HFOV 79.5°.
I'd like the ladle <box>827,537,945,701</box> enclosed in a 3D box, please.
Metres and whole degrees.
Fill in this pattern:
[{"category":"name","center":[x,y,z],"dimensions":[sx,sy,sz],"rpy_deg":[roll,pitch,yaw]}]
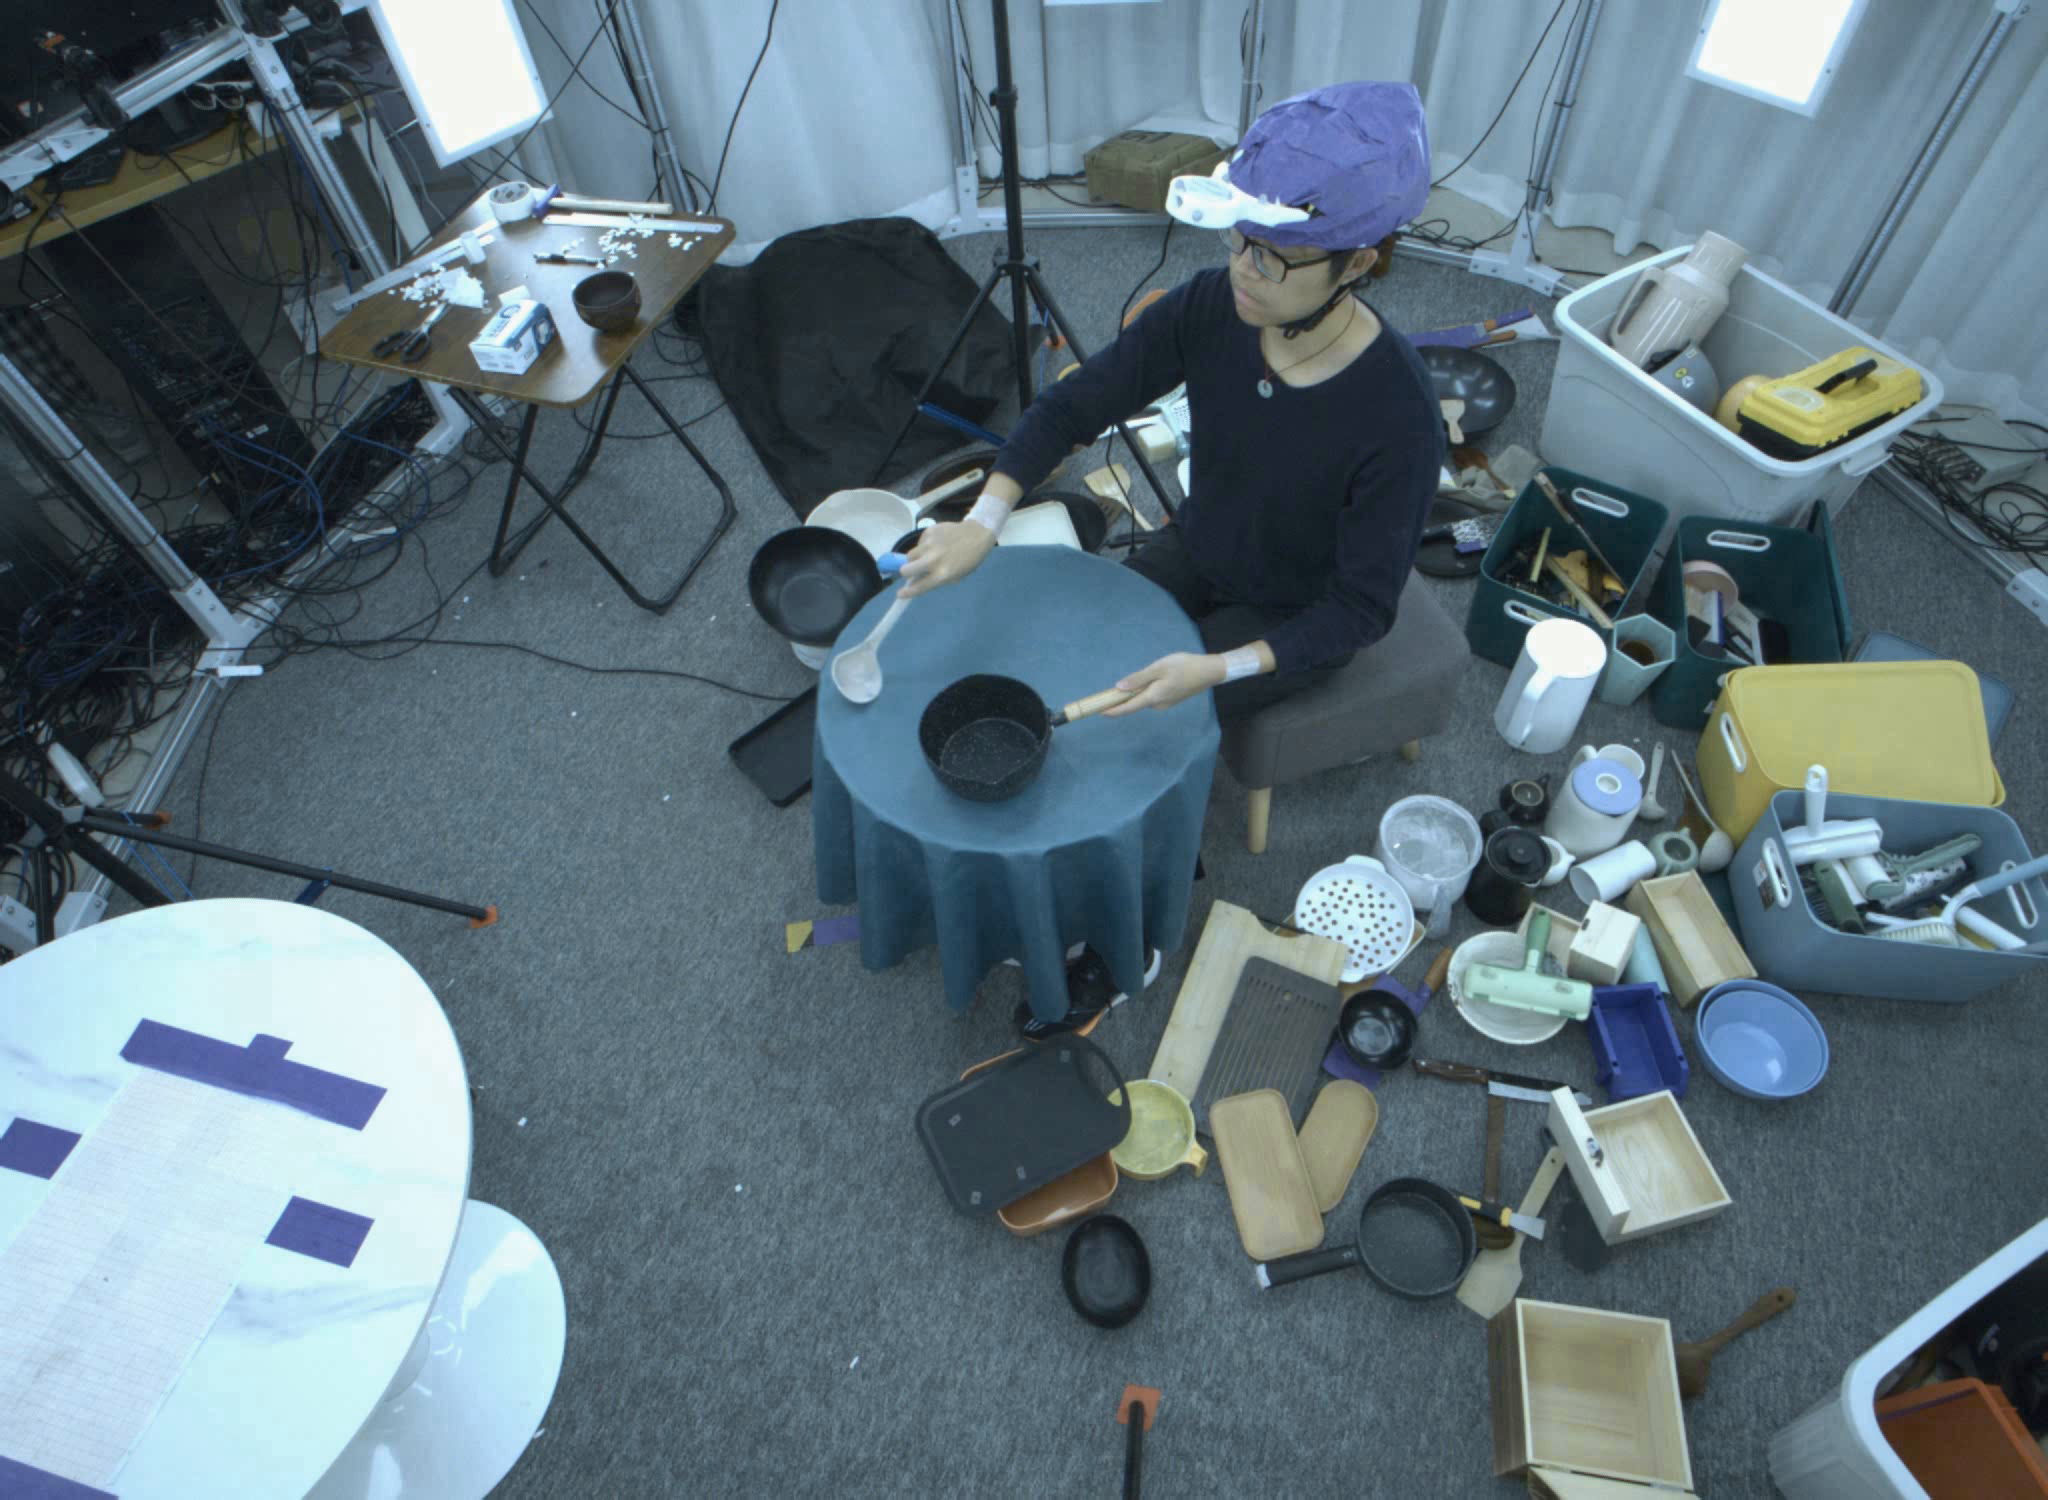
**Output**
[{"category":"ladle","center":[-0.193,-0.191,1.796],"dimensions":[0.273,0.091,0.068],"rpy_deg":[-50,38,21]}]

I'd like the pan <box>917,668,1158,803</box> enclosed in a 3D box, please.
[{"category":"pan","center":[0.023,-0.035,1.737],"dimensions":[0.343,0.109,0.204],"rpy_deg":[-14,54,-2]}]
